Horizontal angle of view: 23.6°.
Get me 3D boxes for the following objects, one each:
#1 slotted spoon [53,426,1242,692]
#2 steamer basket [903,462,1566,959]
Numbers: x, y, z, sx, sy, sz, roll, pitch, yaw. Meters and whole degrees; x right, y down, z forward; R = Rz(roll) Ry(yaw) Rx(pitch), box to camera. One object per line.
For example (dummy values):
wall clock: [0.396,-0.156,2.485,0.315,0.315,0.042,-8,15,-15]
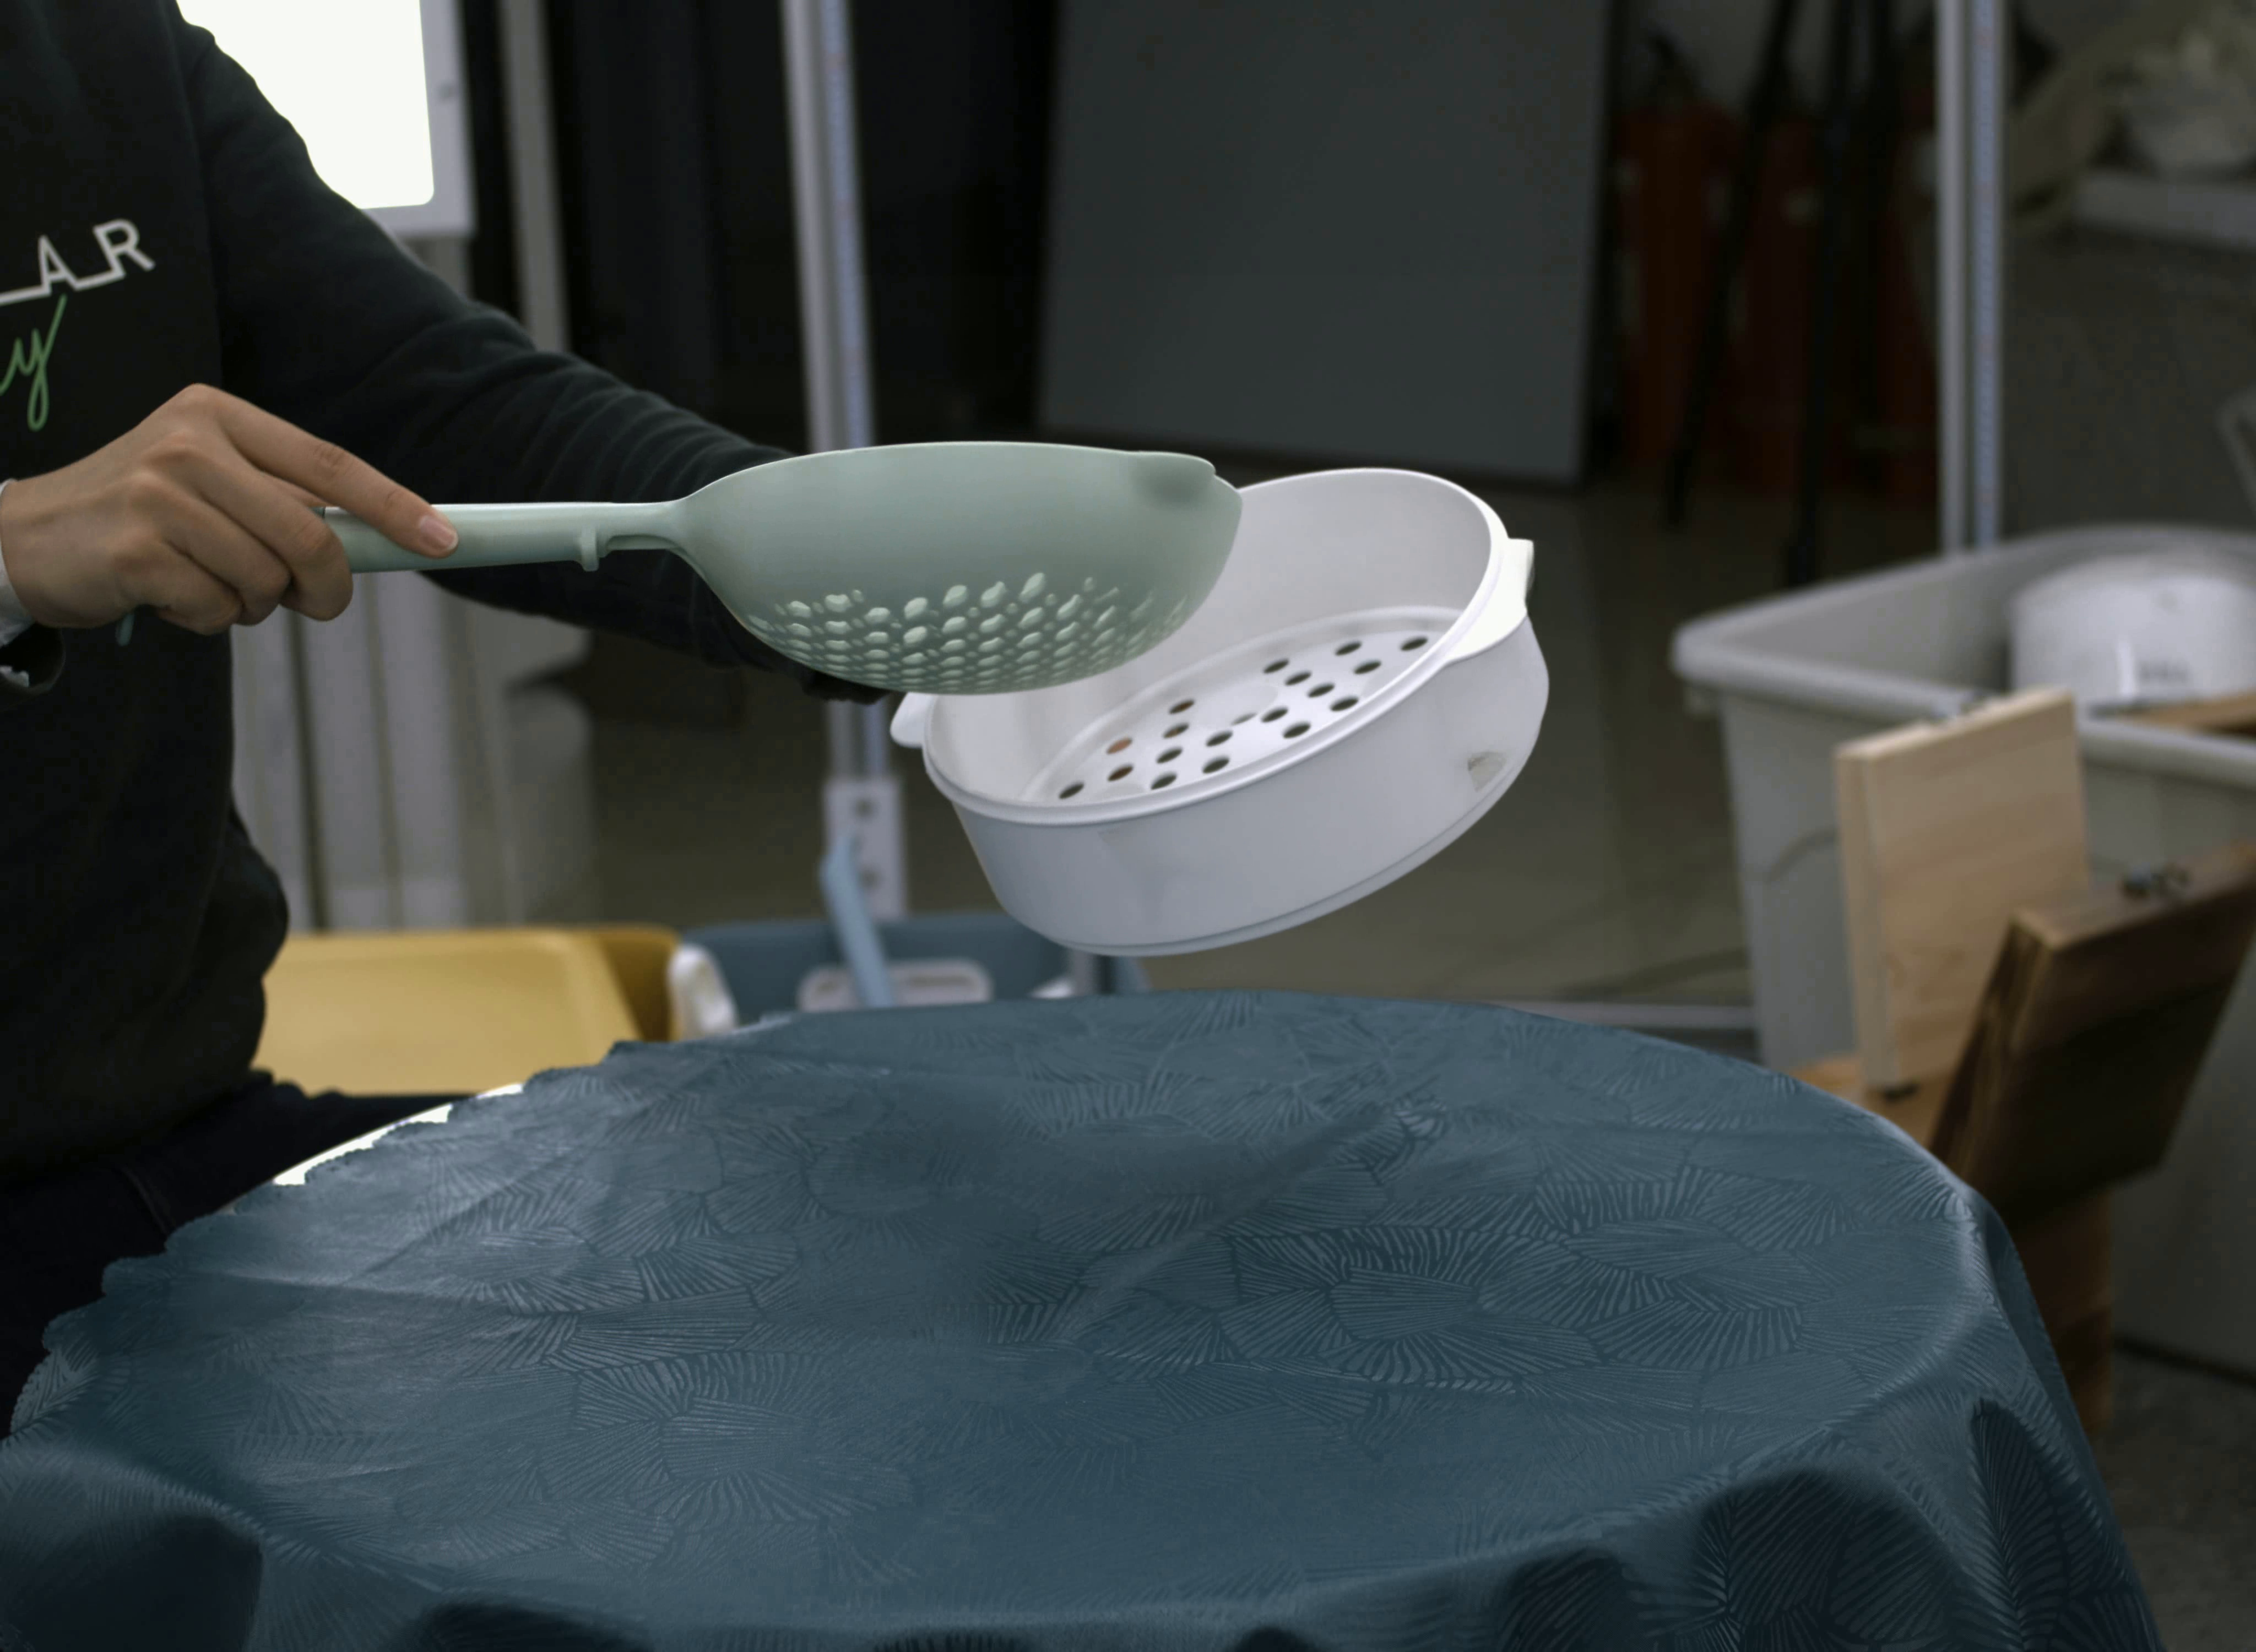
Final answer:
slotted spoon: [-0.145,-0.088,1.651,0.354,0.076,0.169,8,-12,-1]
steamer basket: [0.041,-0.036,1.720,0.231,0.069,0.201,-10,29,28]
